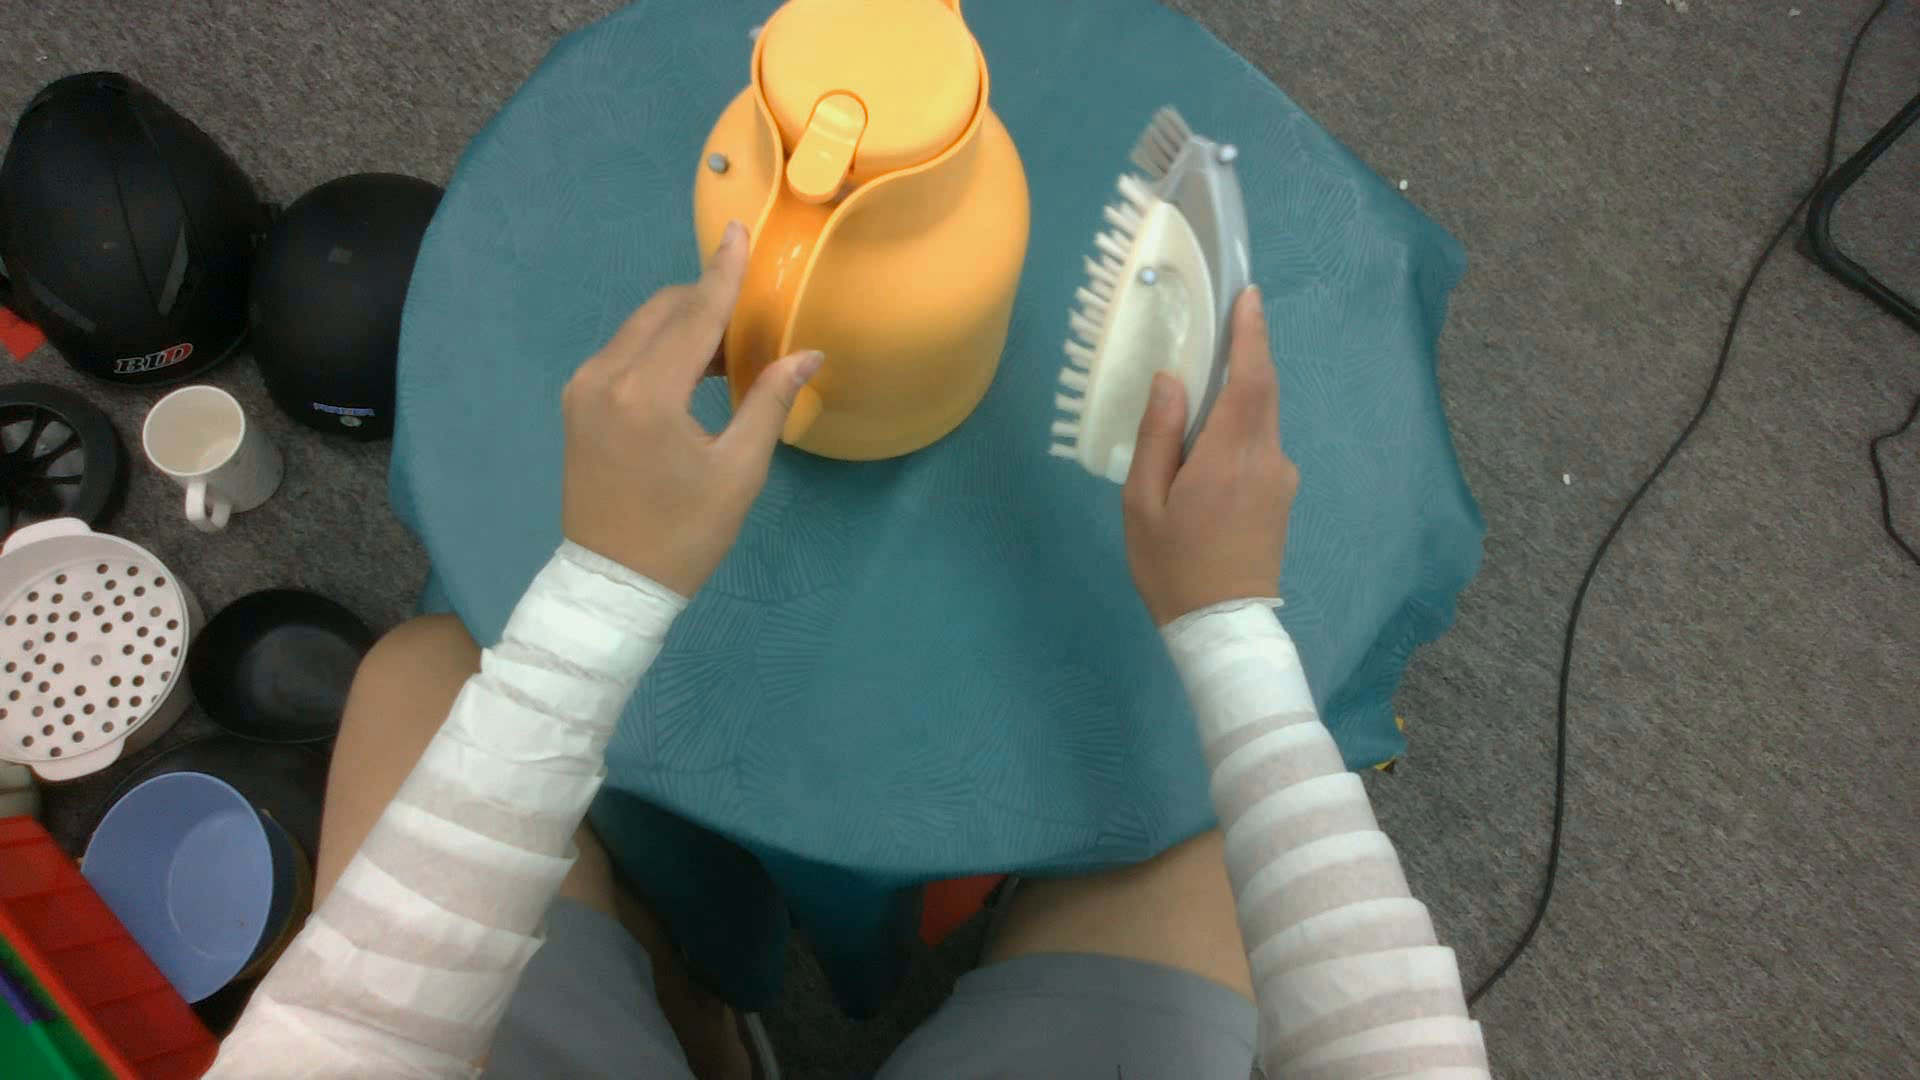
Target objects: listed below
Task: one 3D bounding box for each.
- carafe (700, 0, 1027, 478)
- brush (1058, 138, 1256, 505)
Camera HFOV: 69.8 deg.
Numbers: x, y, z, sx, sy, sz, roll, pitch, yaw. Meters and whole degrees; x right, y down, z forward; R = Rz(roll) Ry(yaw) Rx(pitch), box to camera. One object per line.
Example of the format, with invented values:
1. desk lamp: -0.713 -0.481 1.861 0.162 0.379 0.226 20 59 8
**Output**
1. carafe: -0.057 -0.130 0.683 0.163 0.259 0.203 24 68 5
2. brush: 0.105 -0.102 0.671 0.061 0.094 0.175 -1 109 -35
